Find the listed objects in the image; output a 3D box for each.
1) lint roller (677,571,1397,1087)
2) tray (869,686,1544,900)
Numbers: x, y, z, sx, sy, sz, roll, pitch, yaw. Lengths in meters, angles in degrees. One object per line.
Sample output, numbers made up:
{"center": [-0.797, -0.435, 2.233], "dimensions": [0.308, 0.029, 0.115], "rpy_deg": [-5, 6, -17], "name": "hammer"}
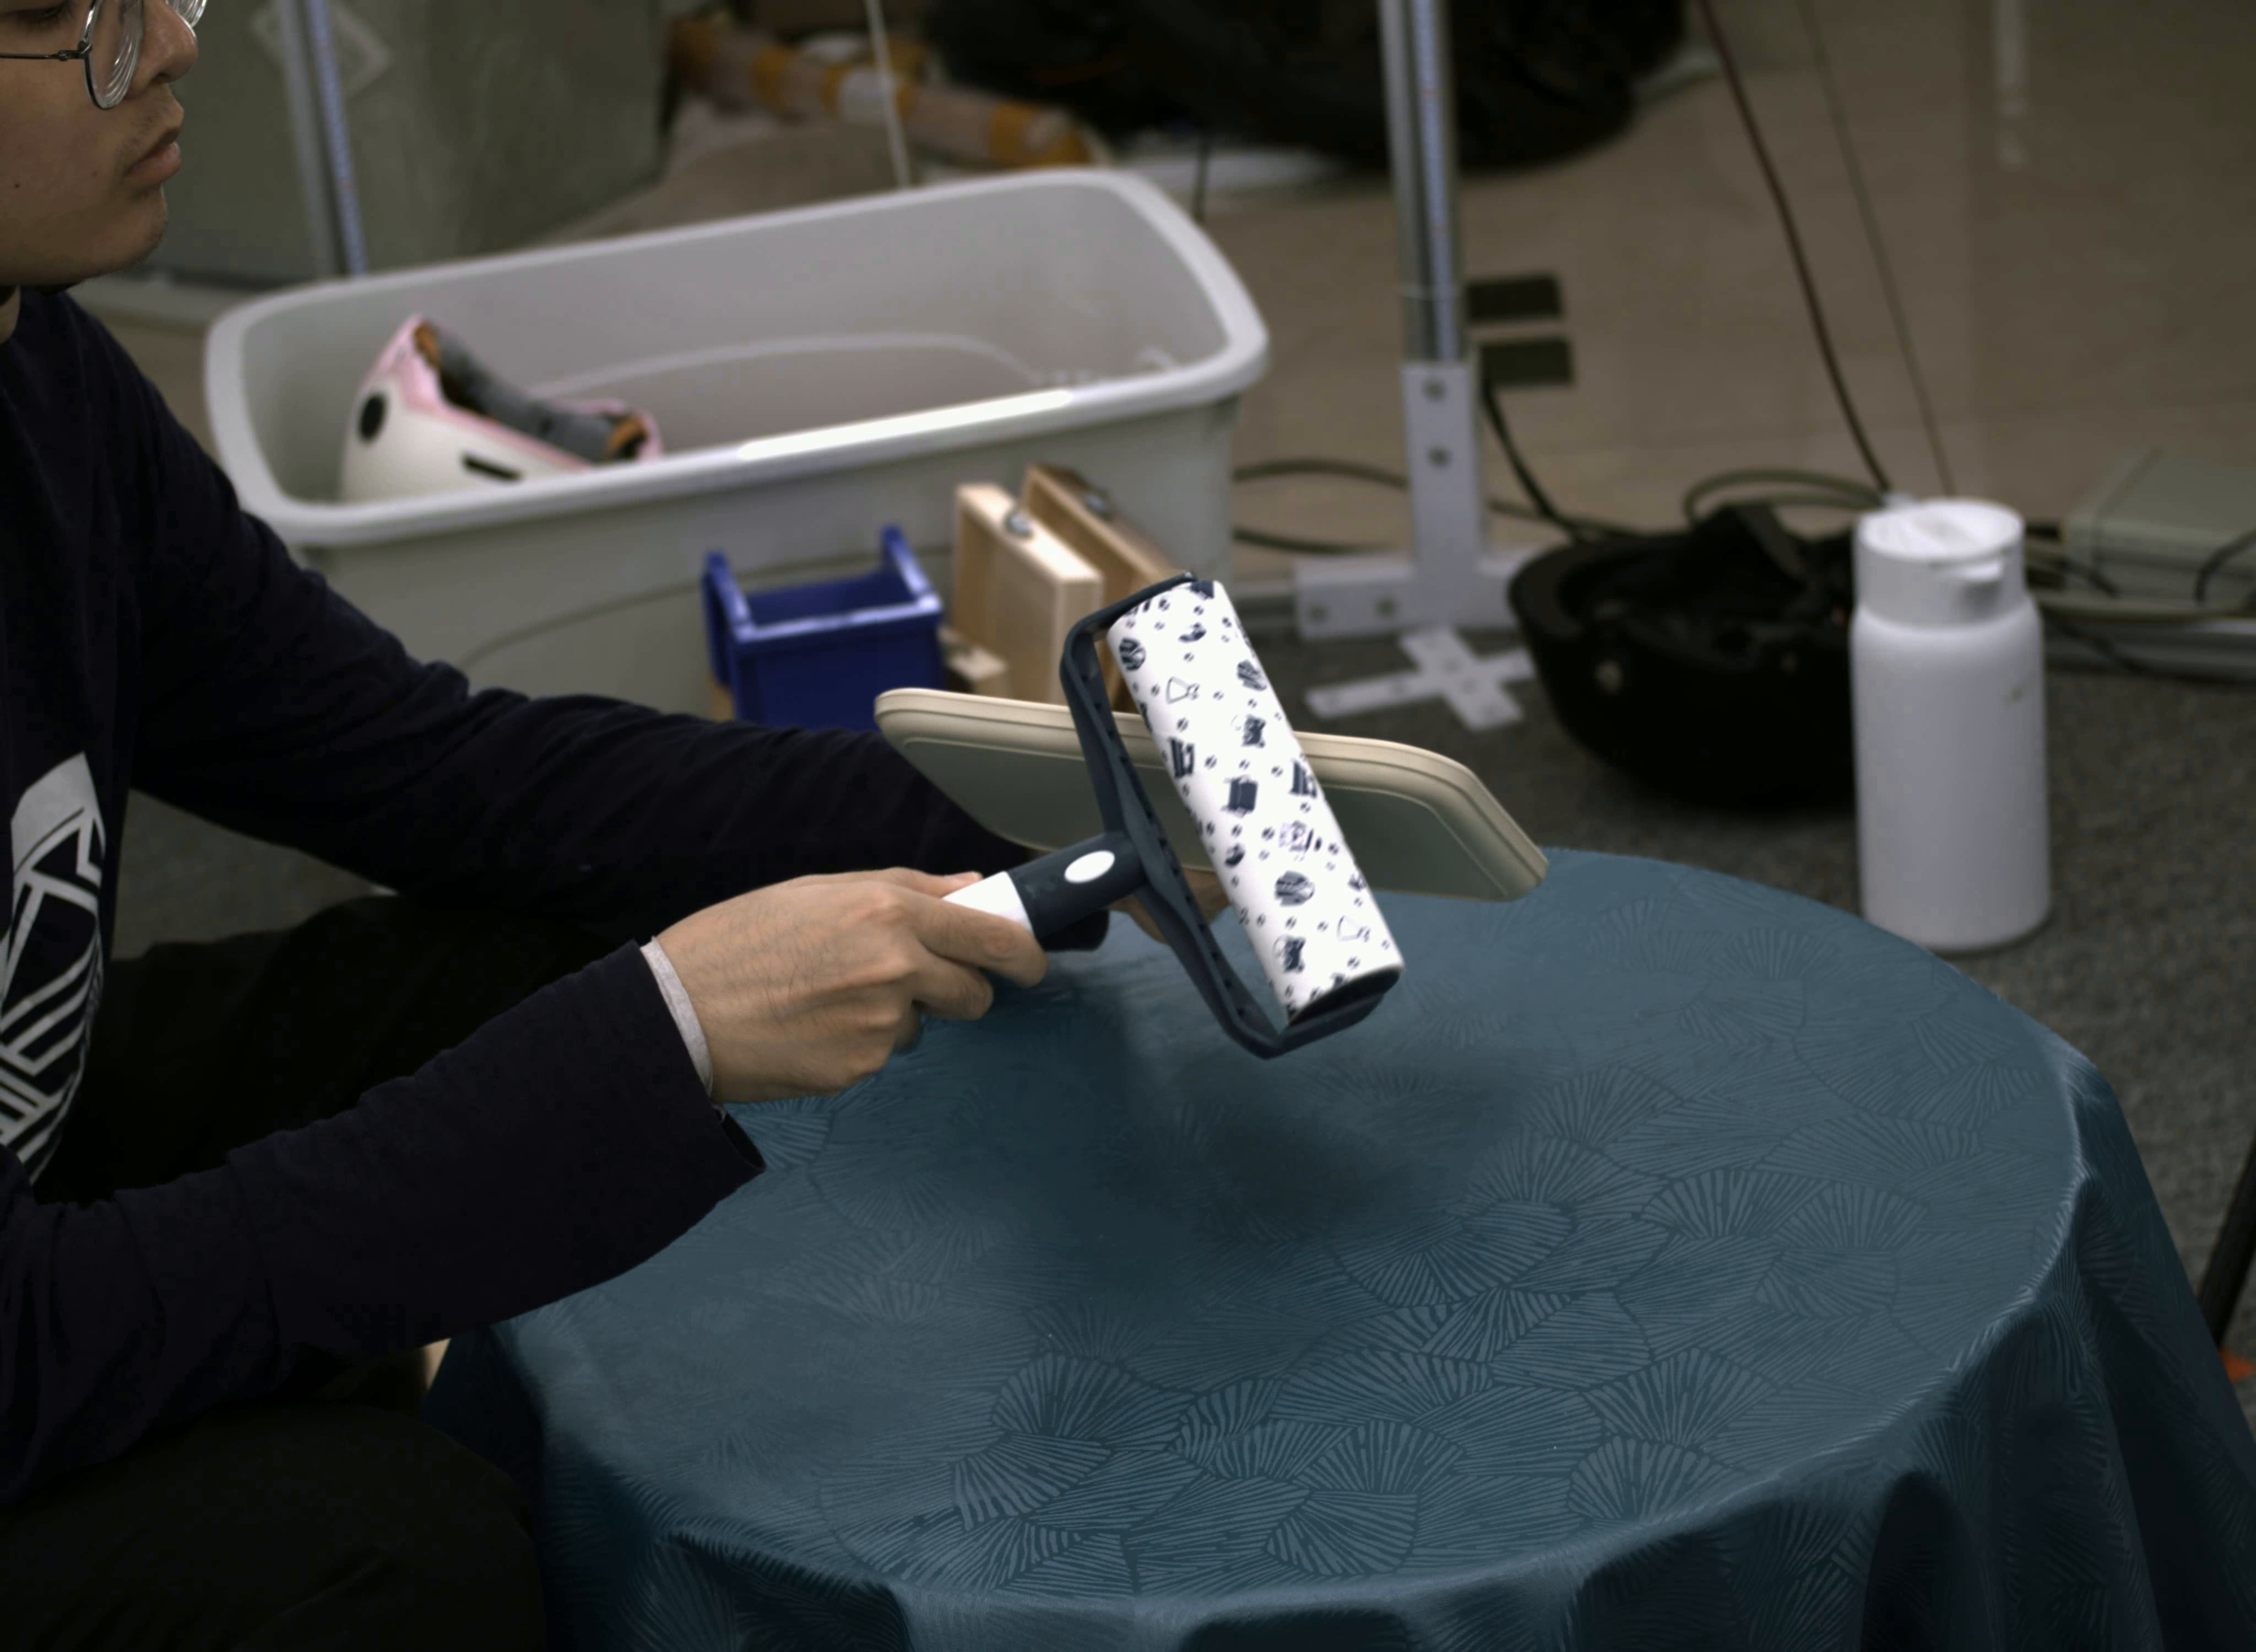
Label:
{"center": [-0.047, 0.033, 2.024], "dimensions": [0.246, 0.175, 0.051], "rpy_deg": [-25, -14, -5], "name": "lint roller"}
{"center": [0.029, -0.010, 2.153], "dimensions": [0.239, 0.017, 0.173], "rpy_deg": [7, -15, 21], "name": "tray"}
